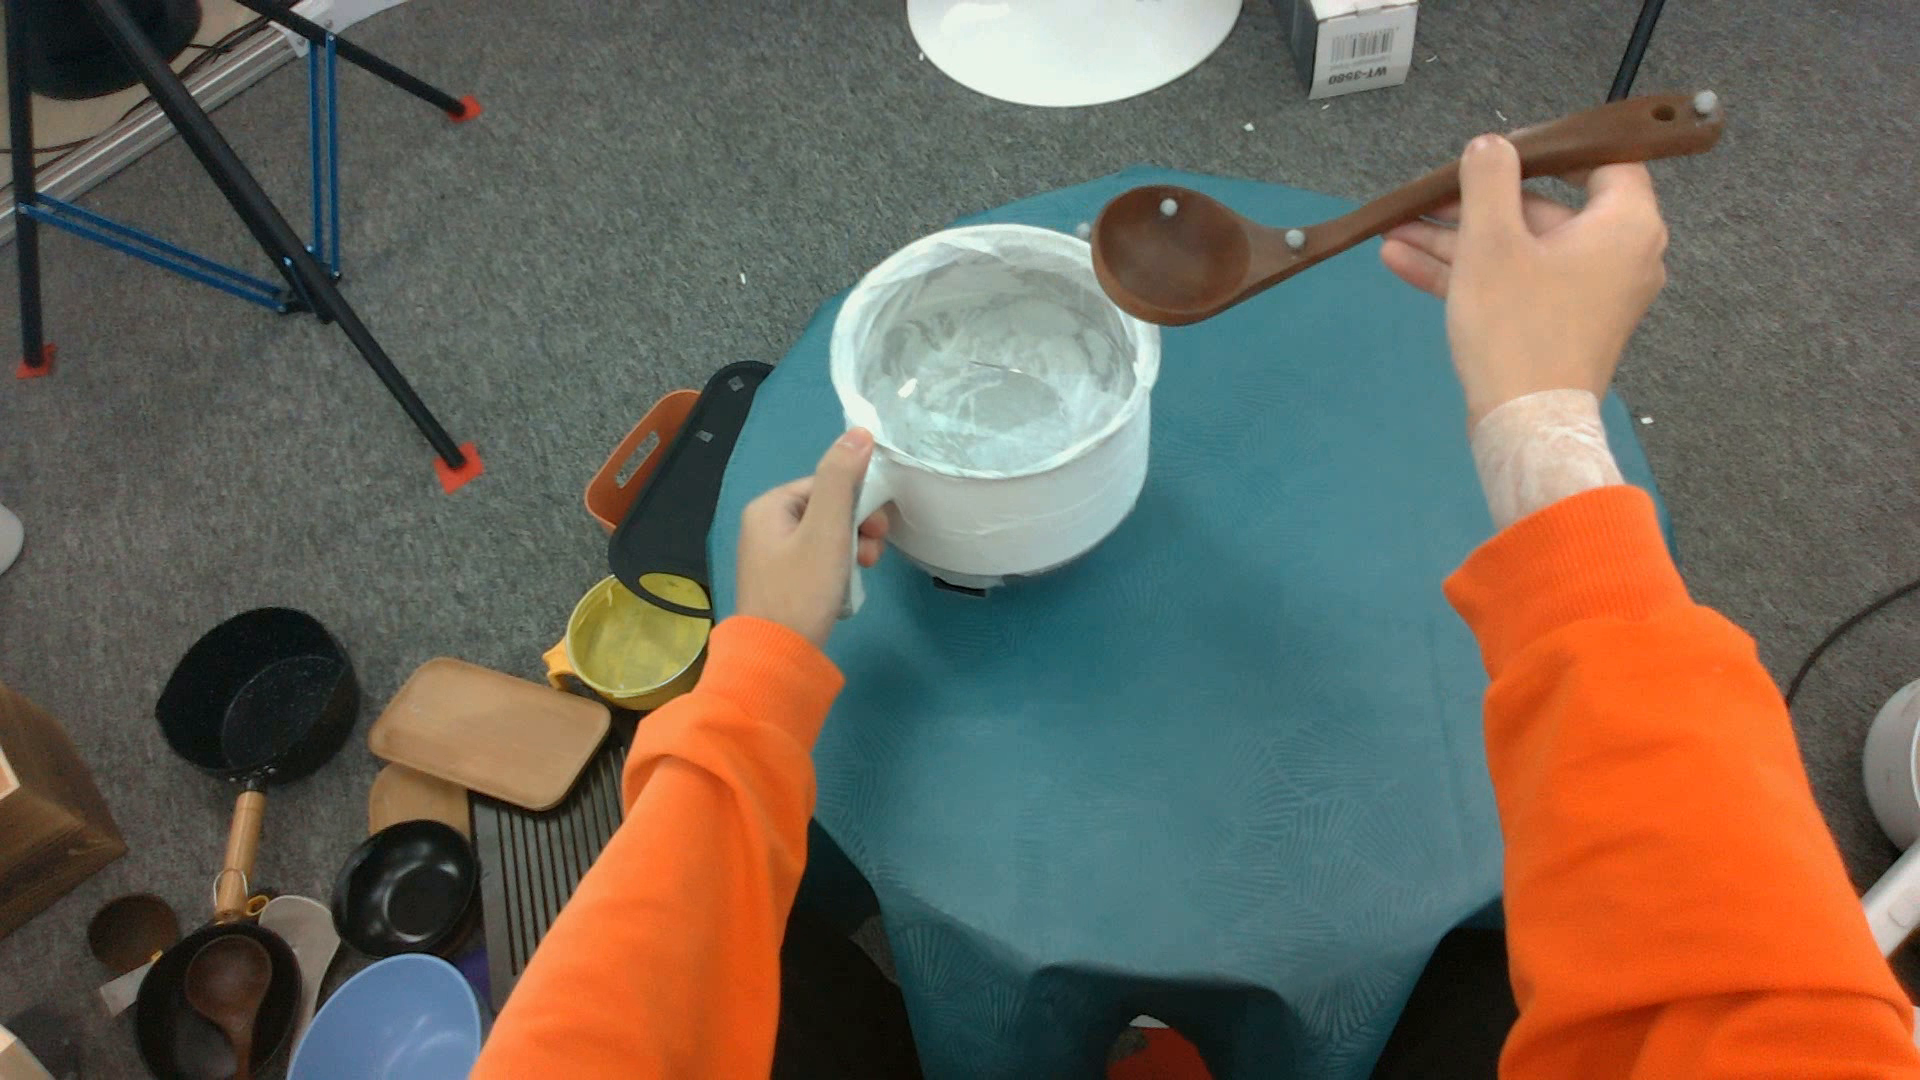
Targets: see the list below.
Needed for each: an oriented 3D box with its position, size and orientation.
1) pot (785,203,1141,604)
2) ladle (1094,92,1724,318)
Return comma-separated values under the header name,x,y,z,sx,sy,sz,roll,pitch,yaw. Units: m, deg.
name,x,y,z,sx,sy,sz,roll,pitch,yaw
pot,-0.008,-0.065,0.777,0.179,0.136,0.234,36,66,23
ladle,0.182,-0.154,0.595,0.259,0.065,0.077,-12,62,31
